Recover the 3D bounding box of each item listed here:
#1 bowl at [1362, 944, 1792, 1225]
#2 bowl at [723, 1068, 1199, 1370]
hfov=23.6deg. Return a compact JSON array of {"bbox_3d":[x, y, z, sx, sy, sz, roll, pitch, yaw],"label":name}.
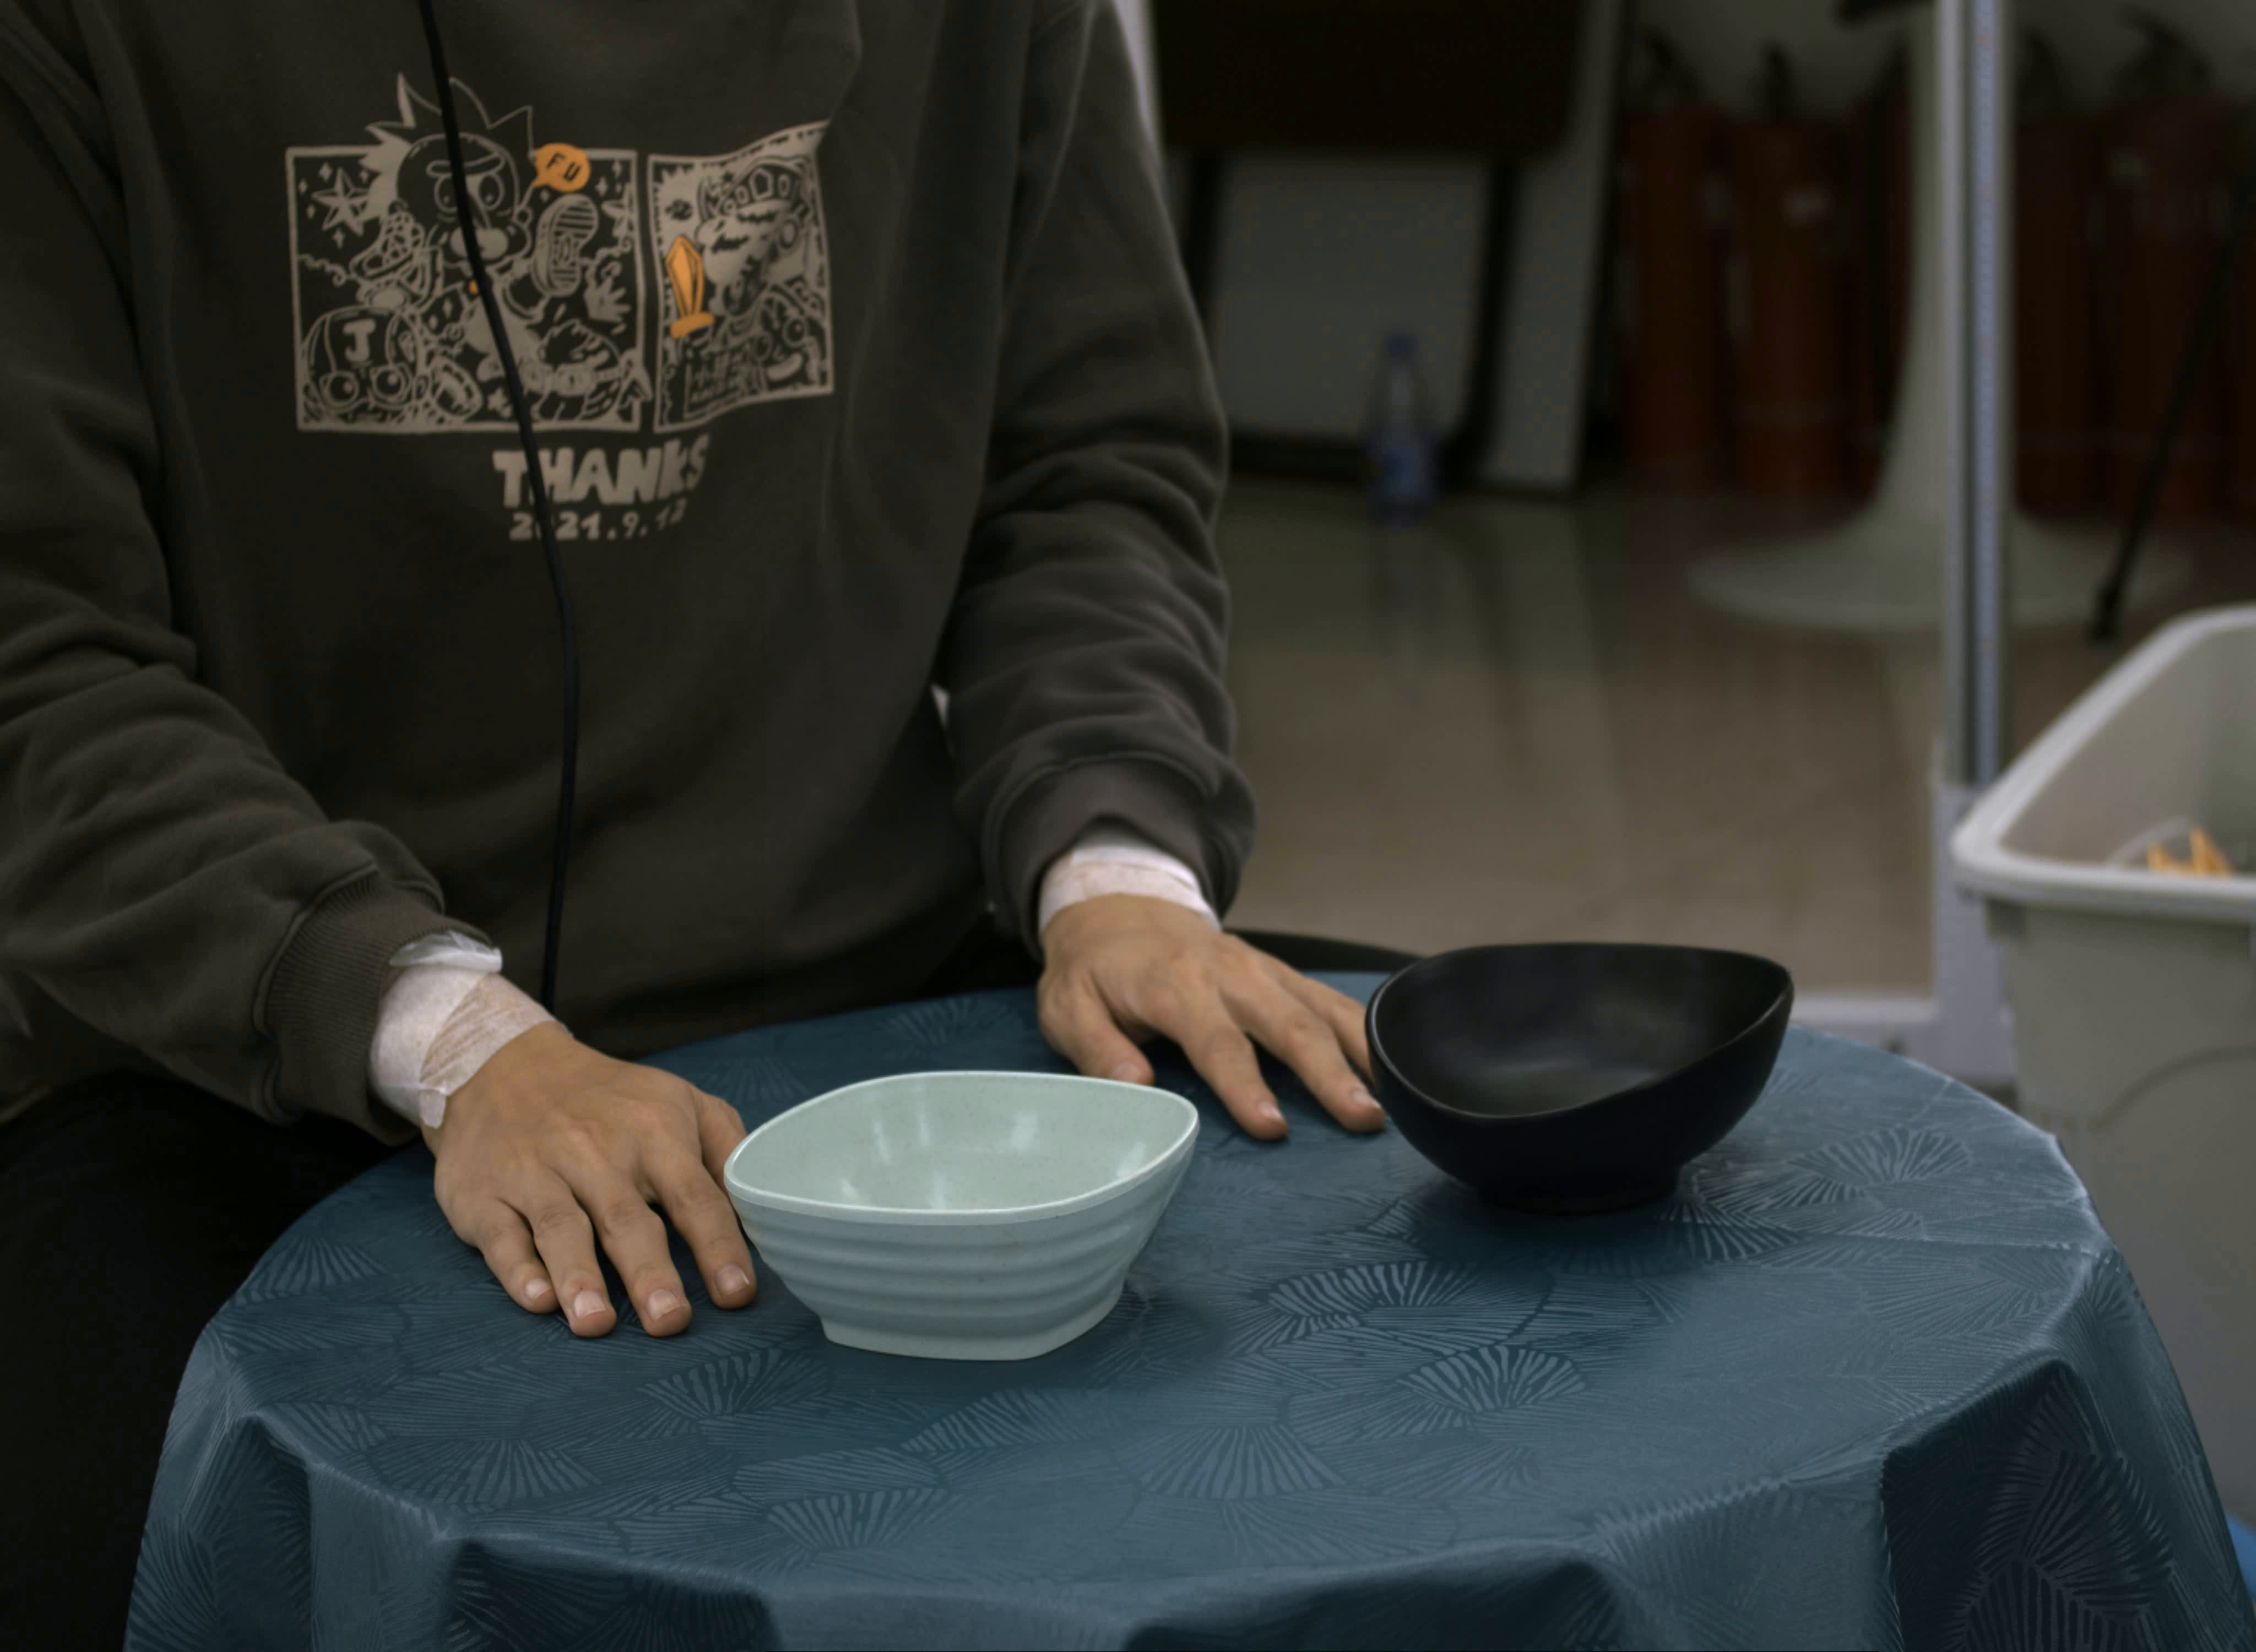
[{"bbox_3d":[0.146,0.087,1.740,0.137,0.067,0.168,1,16,22],"label":"bowl"},{"bbox_3d":[-0.050,0.124,1.658,0.149,0.059,0.152,-2,15,0],"label":"bowl"}]
